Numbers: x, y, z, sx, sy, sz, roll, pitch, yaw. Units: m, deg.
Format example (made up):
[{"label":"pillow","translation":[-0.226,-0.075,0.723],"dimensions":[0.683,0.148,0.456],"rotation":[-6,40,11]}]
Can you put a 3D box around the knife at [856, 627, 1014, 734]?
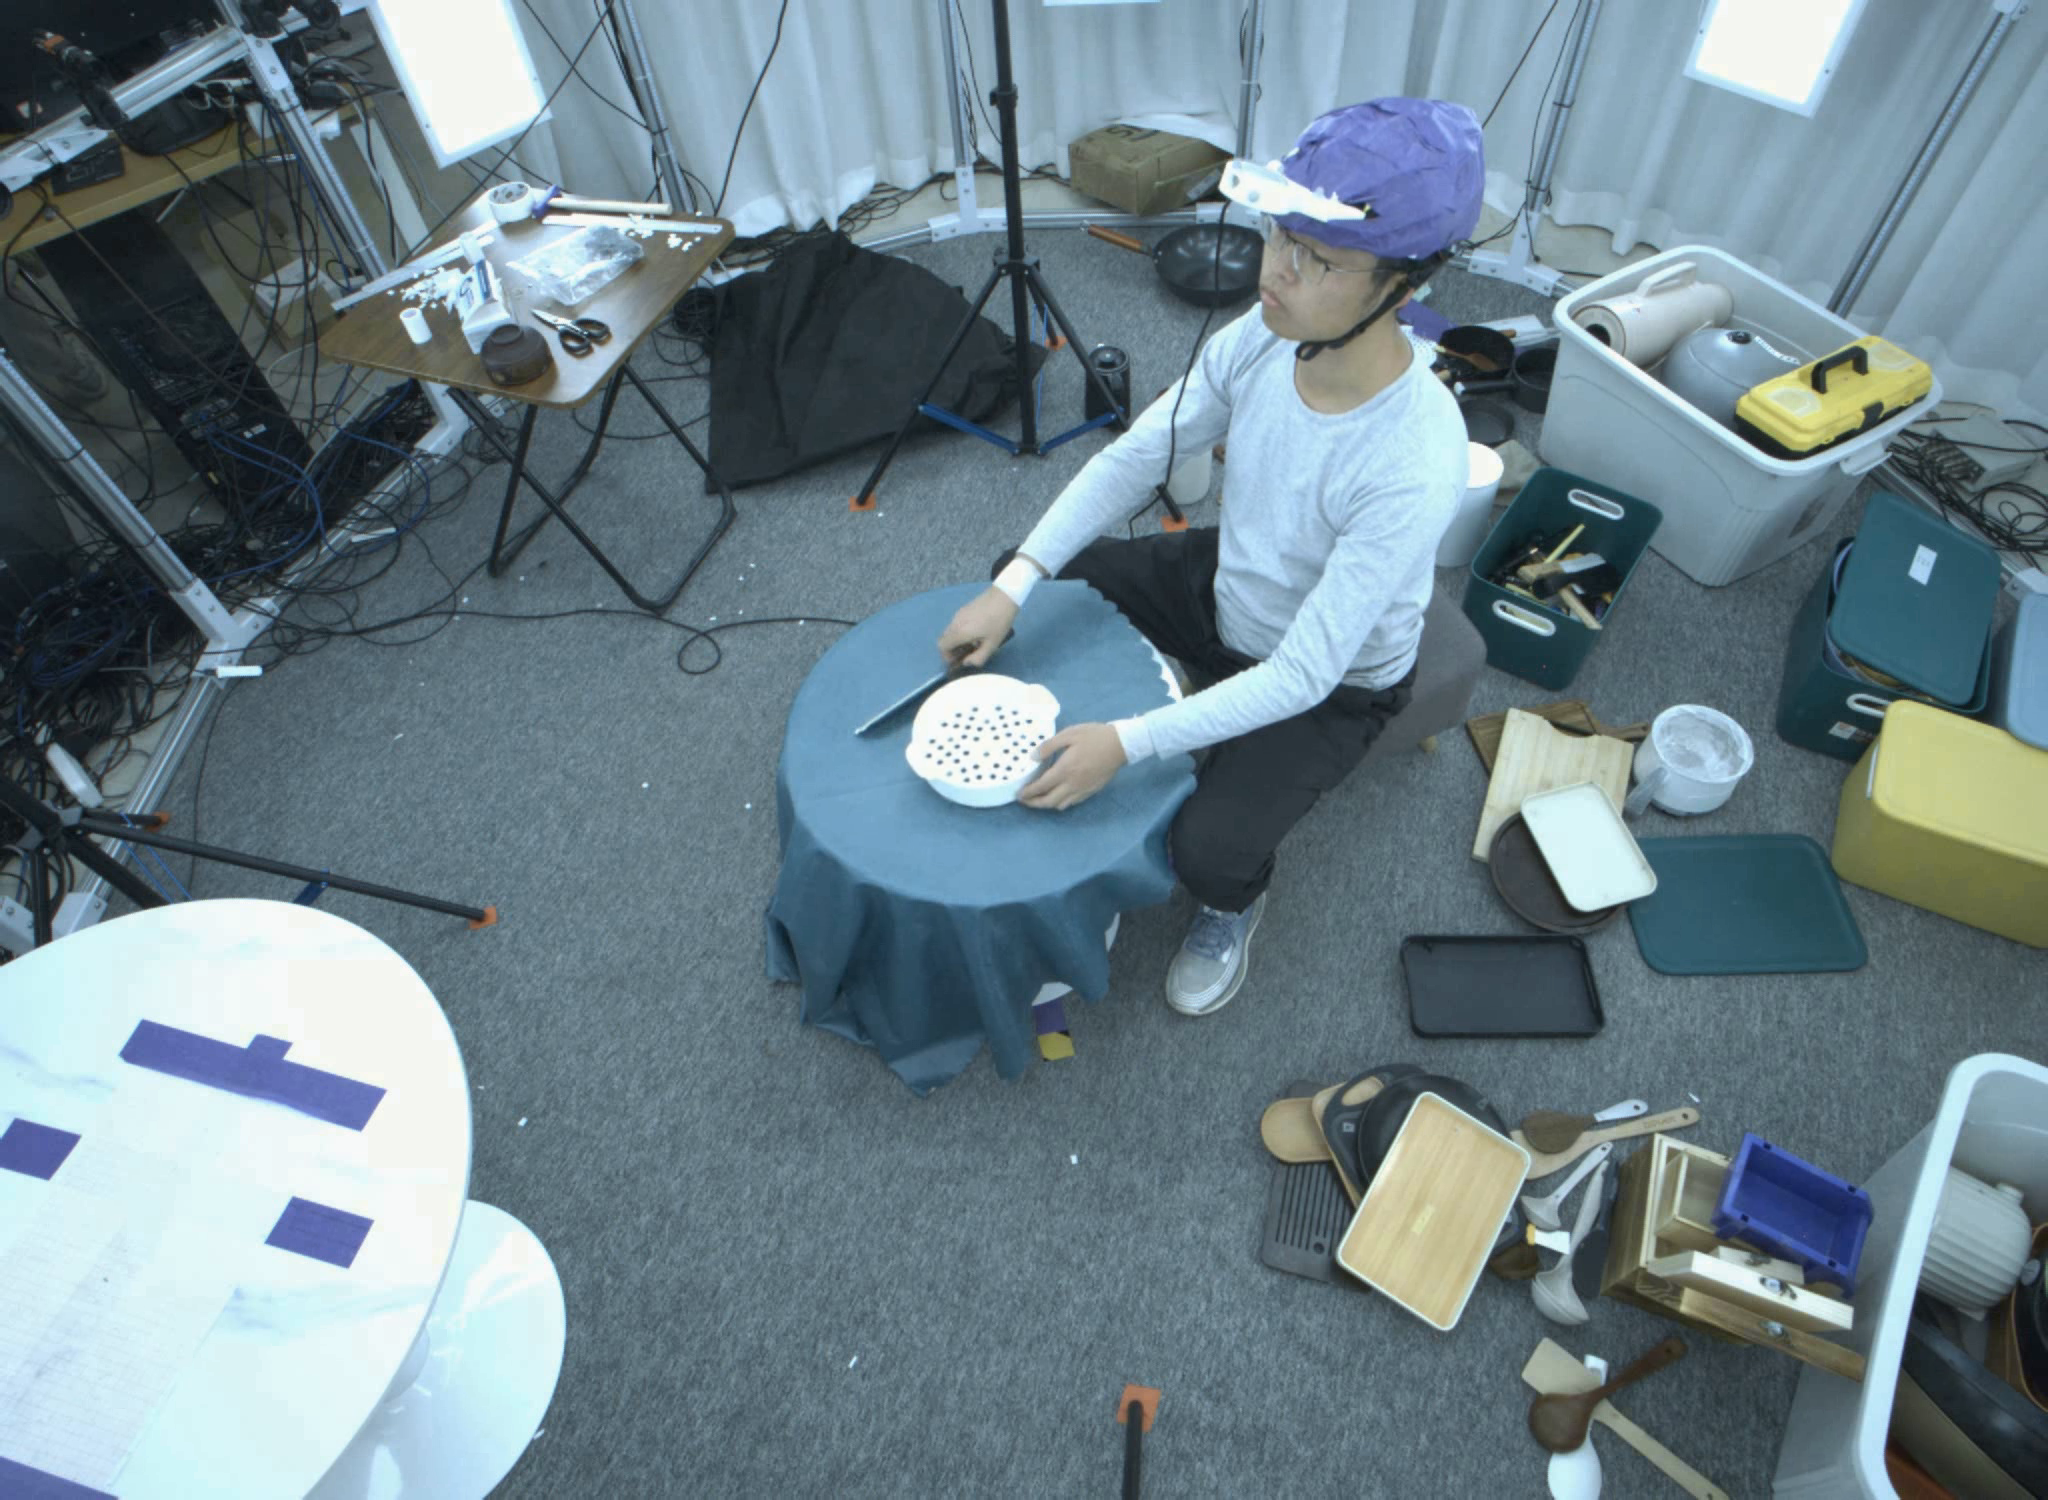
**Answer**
[{"label":"knife","translation":[-0.134,-0.103,1.850],"dimensions":[0.291,0.049,0.020],"rotation":[-35,105,-17]}]

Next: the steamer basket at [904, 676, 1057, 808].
[{"label":"steamer basket","translation":[-0.060,-0.010,1.762],"dimensions":[0.232,0.070,0.198],"rotation":[-27,59,-17]}]
